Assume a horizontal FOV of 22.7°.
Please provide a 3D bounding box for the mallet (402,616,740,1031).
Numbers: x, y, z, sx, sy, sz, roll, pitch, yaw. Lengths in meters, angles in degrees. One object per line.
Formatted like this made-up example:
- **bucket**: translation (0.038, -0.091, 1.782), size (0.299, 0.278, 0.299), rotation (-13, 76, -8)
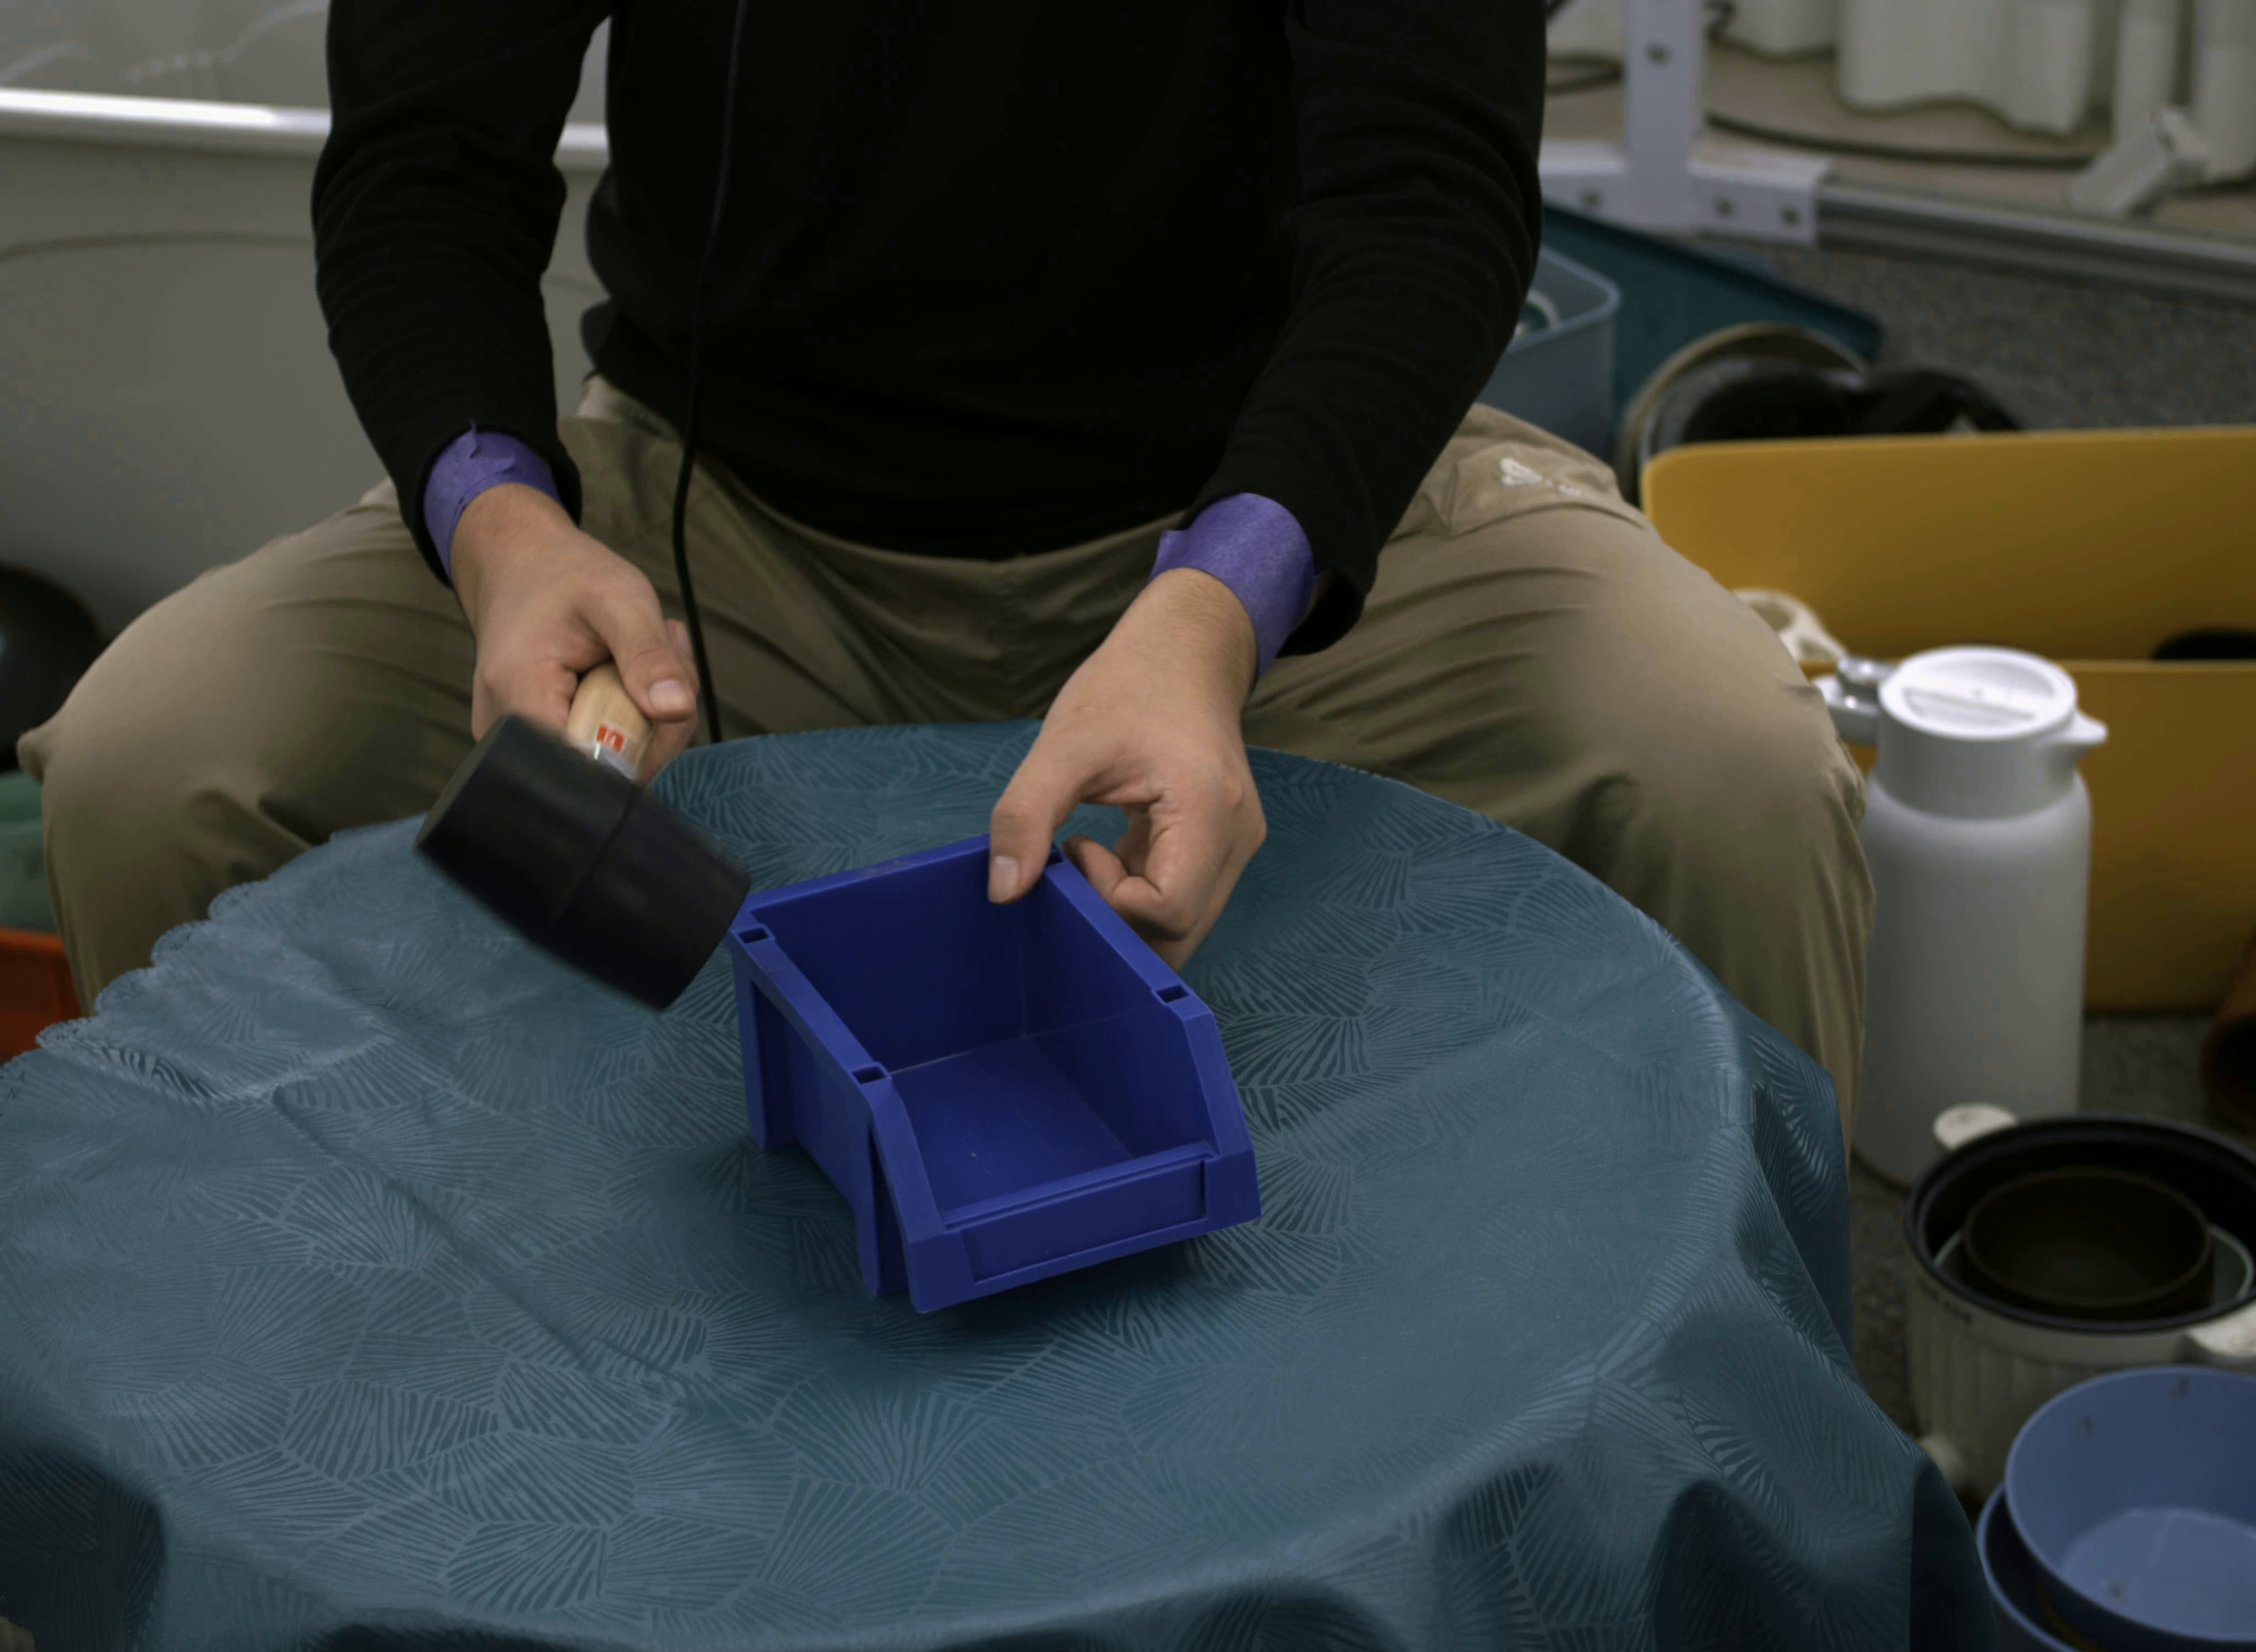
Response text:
- **mallet**: translation (-0.178, -0.026, 1.948), size (0.101, 0.064, 0.342), rotation (38, 14, -10)

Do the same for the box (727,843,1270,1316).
- **box**: translation (-0.042, 0.087, 1.843), size (0.125, 0.081, 0.180), rotation (-13, 26, -19)
